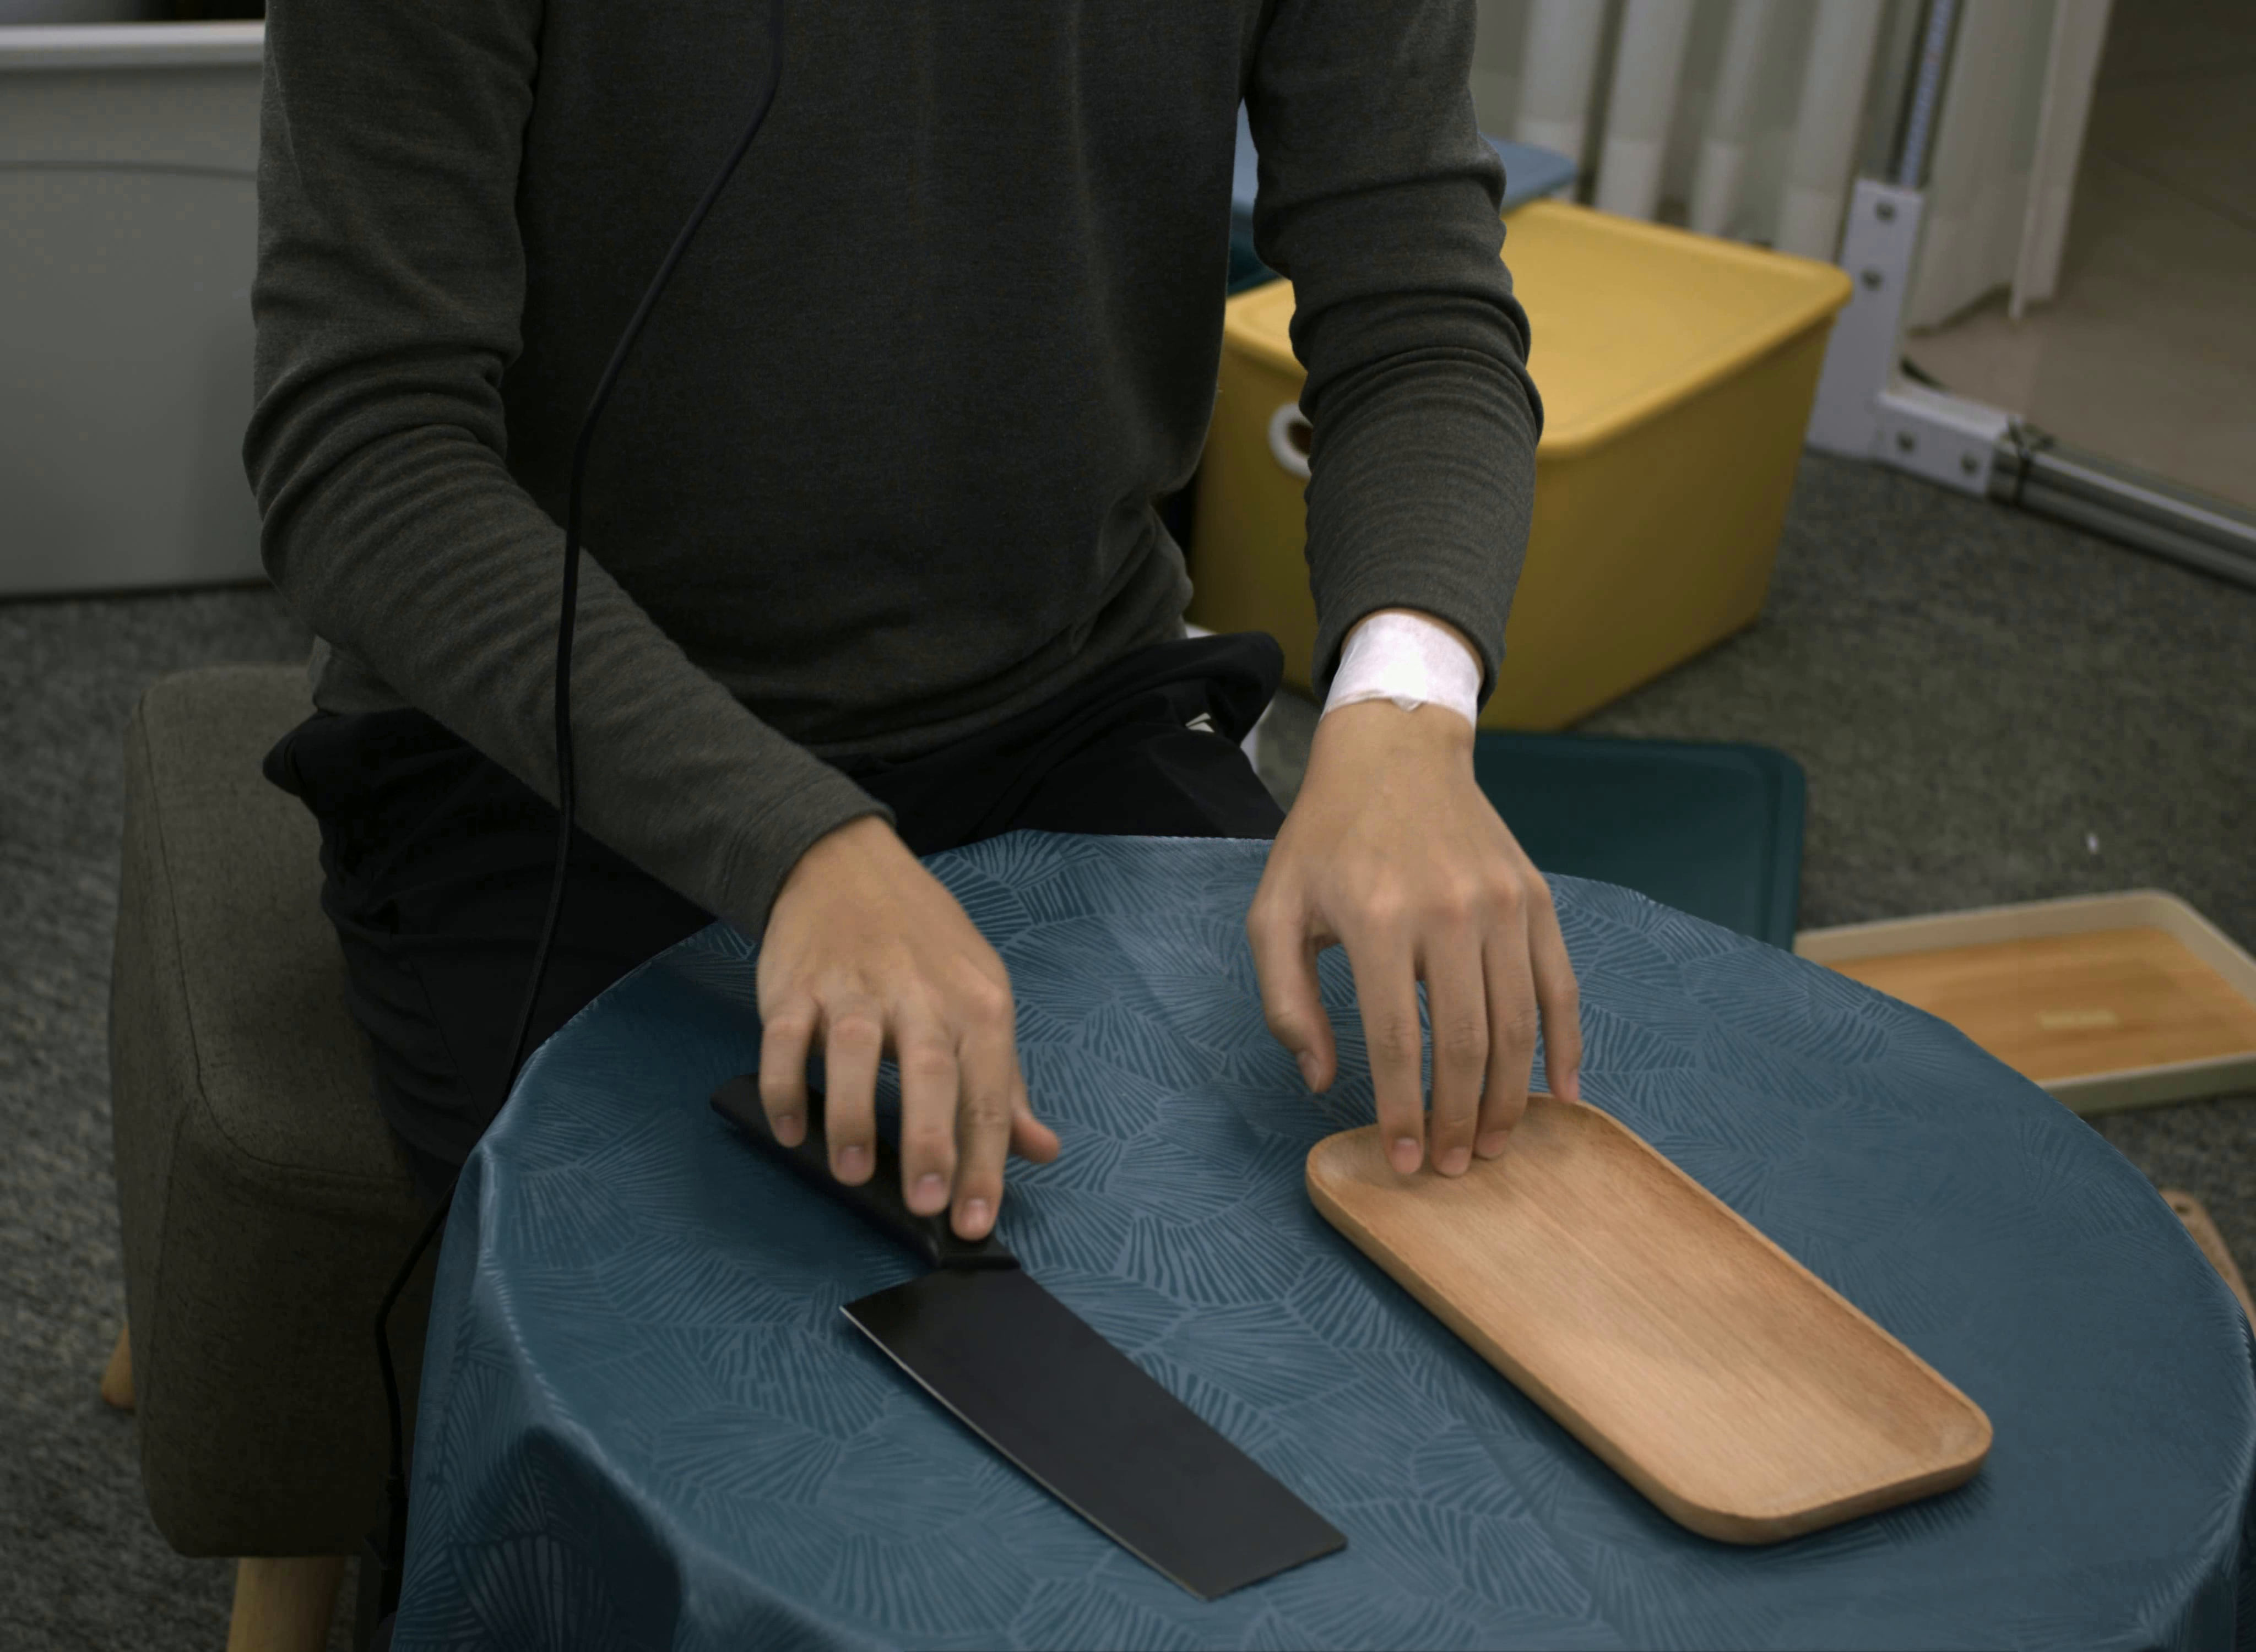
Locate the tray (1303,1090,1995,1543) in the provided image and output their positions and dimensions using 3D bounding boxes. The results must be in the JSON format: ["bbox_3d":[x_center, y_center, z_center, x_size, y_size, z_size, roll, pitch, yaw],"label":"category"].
[{"bbox_3d":[0.168,0.159,1.757,0.129,0.023,0.253,-8,29,-31],"label":"tray"}]

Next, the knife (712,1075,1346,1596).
[{"bbox_3d":[-0.046,0.160,1.709,0.080,0.021,0.305,-12,34,-33],"label":"knife"}]
